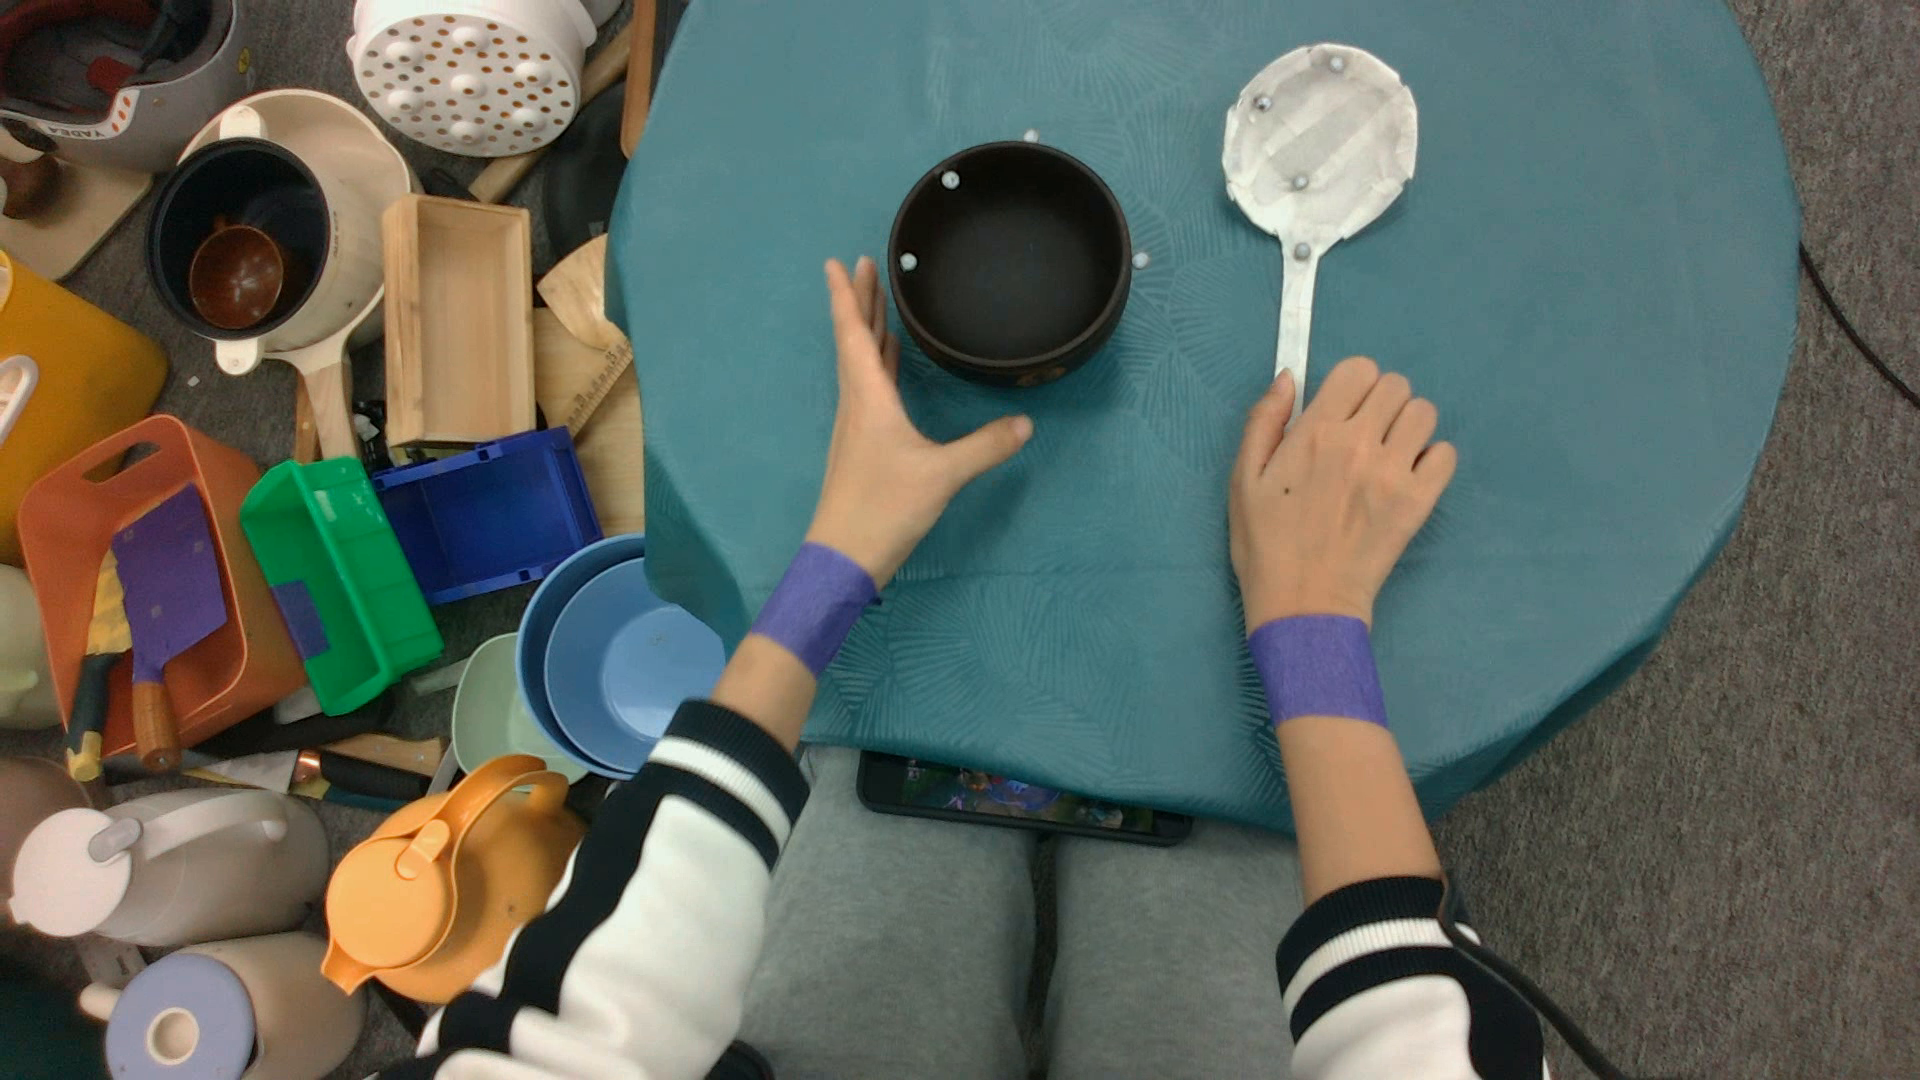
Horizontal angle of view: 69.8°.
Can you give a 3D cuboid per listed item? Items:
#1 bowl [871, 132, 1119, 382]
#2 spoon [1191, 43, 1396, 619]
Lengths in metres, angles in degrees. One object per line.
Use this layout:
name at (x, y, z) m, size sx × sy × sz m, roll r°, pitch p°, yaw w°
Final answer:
bowl at (0.018, -0.132, 0.677) m, size 0.118 × 0.070 × 0.118 m, roll -1°, pitch 78°, yaw 5°
spoon at (0.150, -0.102, 0.669) m, size 0.100 × 0.059 × 0.278 m, roll 8°, pitch 79°, yaw 7°
